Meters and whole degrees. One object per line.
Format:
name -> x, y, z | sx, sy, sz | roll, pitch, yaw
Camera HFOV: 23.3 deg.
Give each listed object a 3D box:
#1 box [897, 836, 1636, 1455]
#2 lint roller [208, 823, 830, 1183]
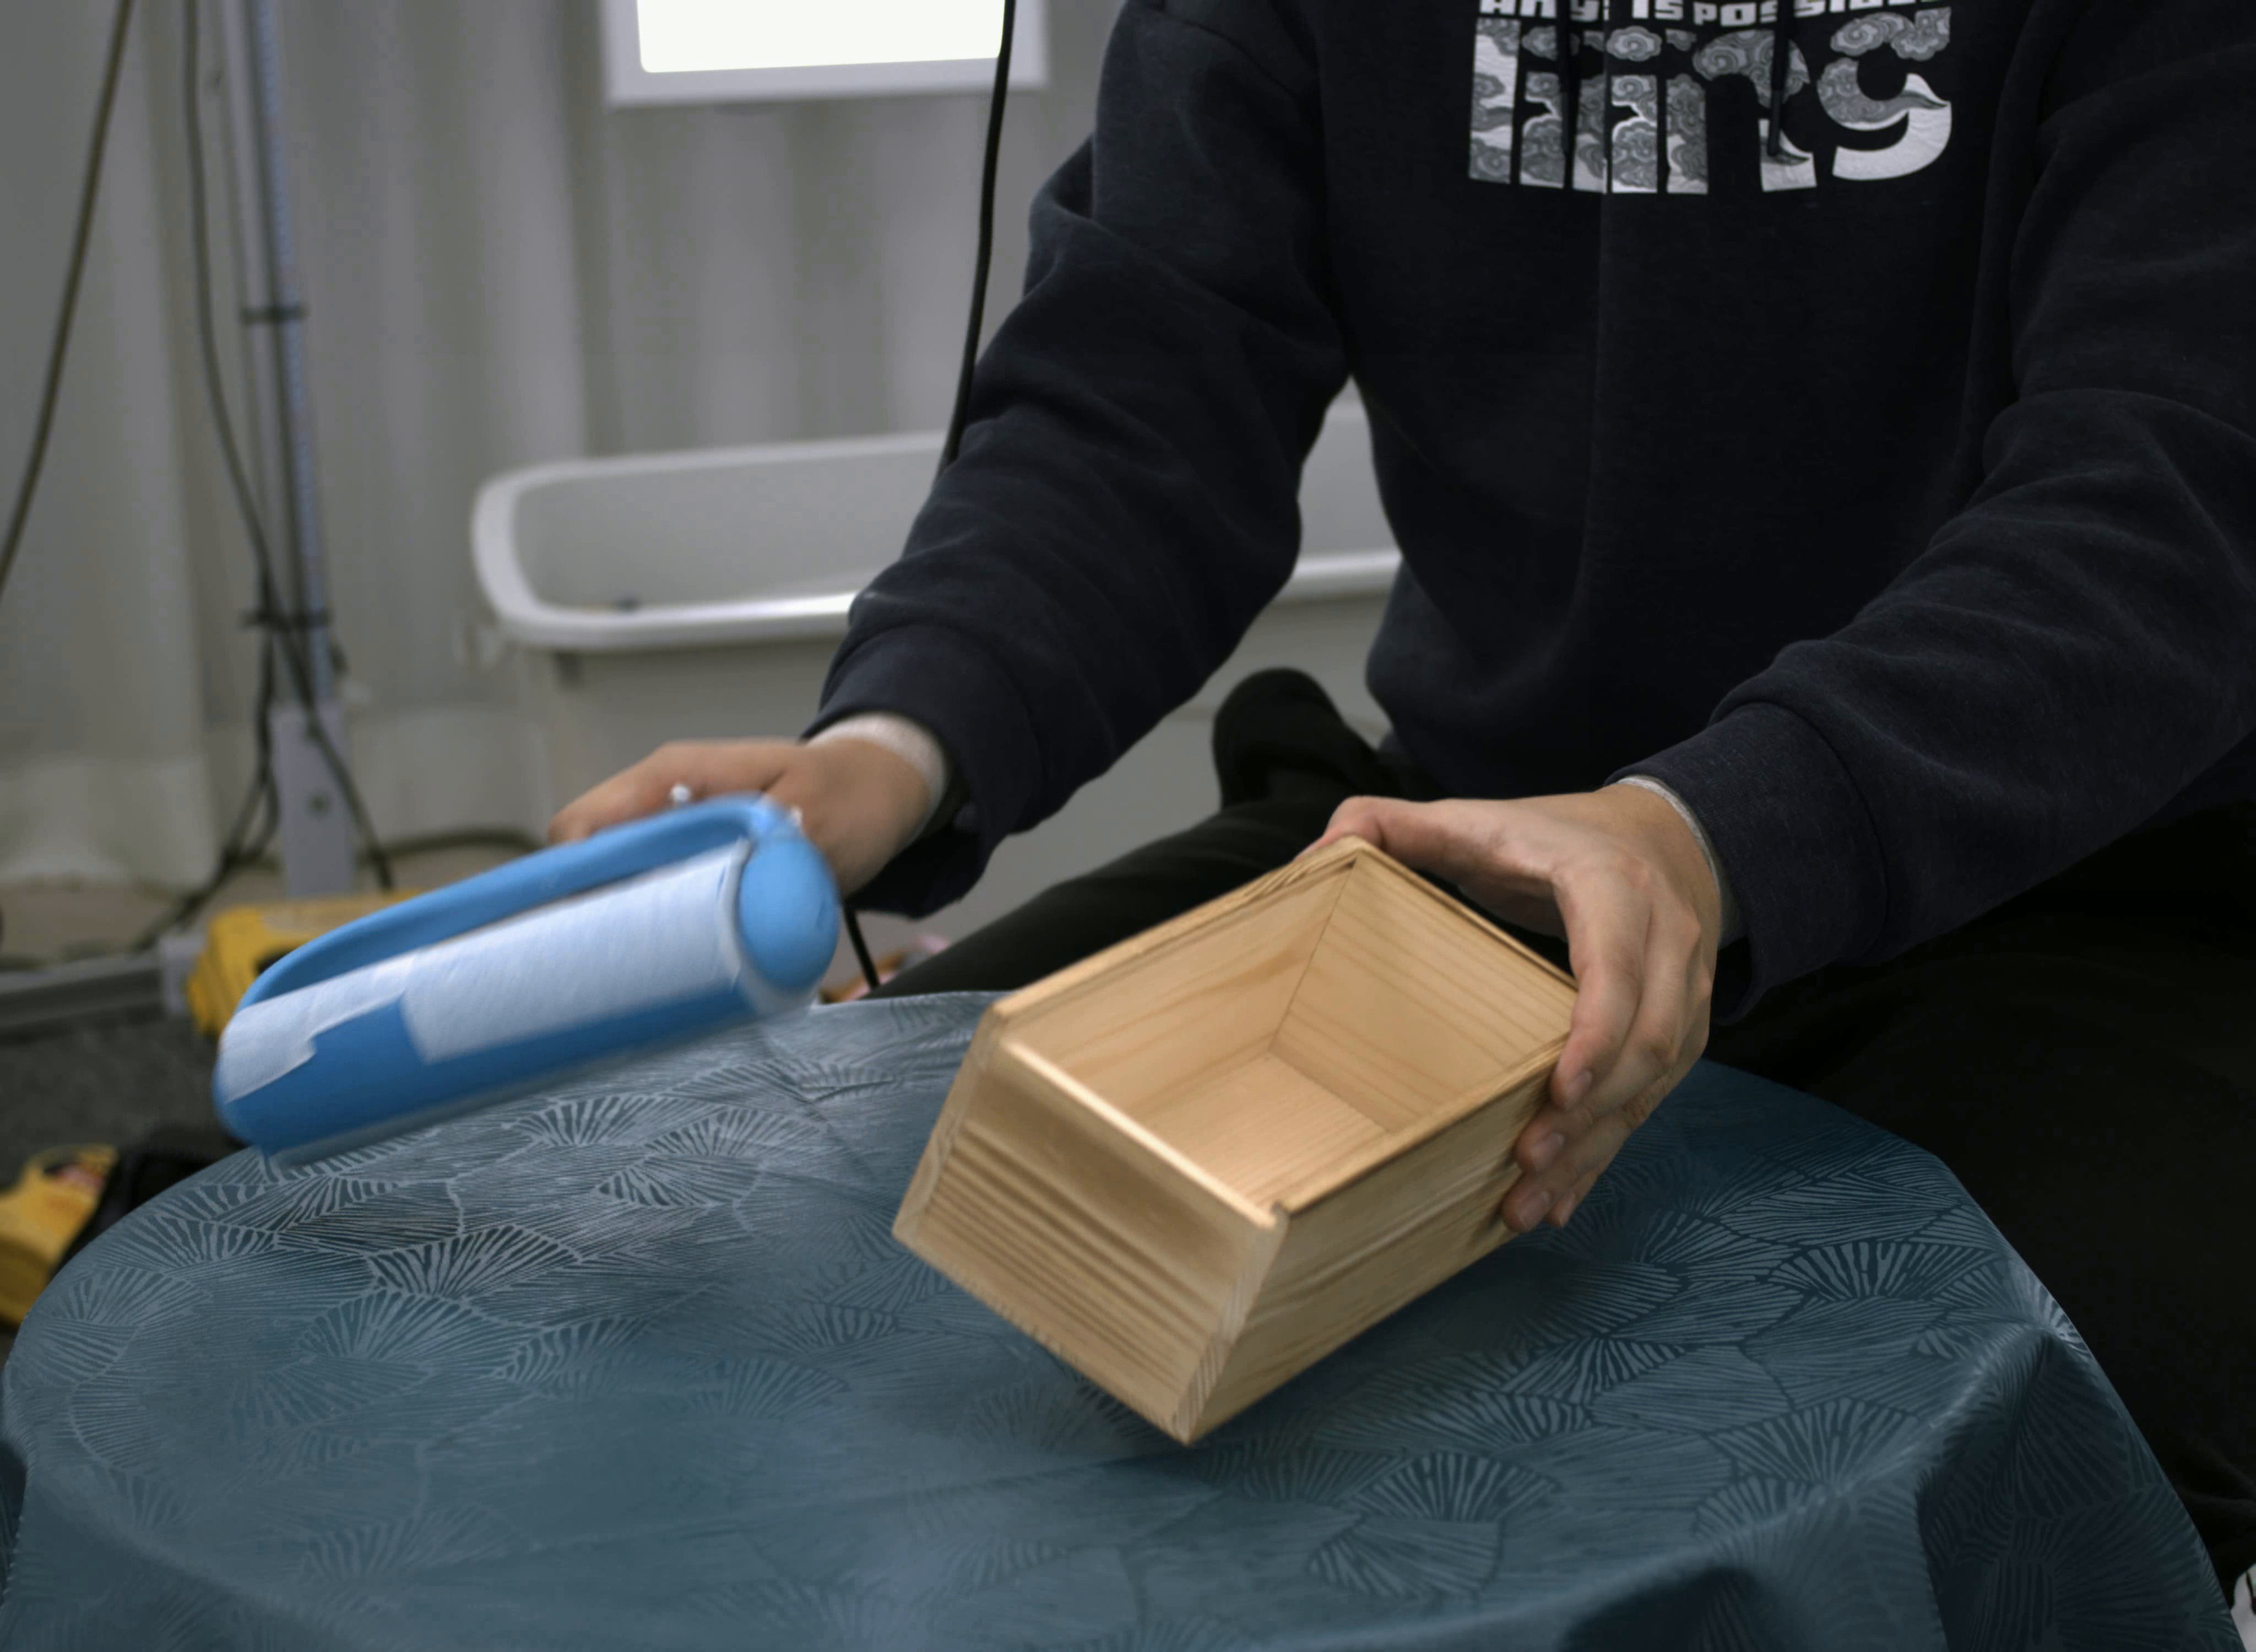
box -> 0.043, 0.087, 1.565 | 0.108, 0.079, 0.211 | 33, 28, 20
lint roller -> -0.169, 0.040, 1.723 | 0.228, 0.067, 0.181 | -18, 14, 27
